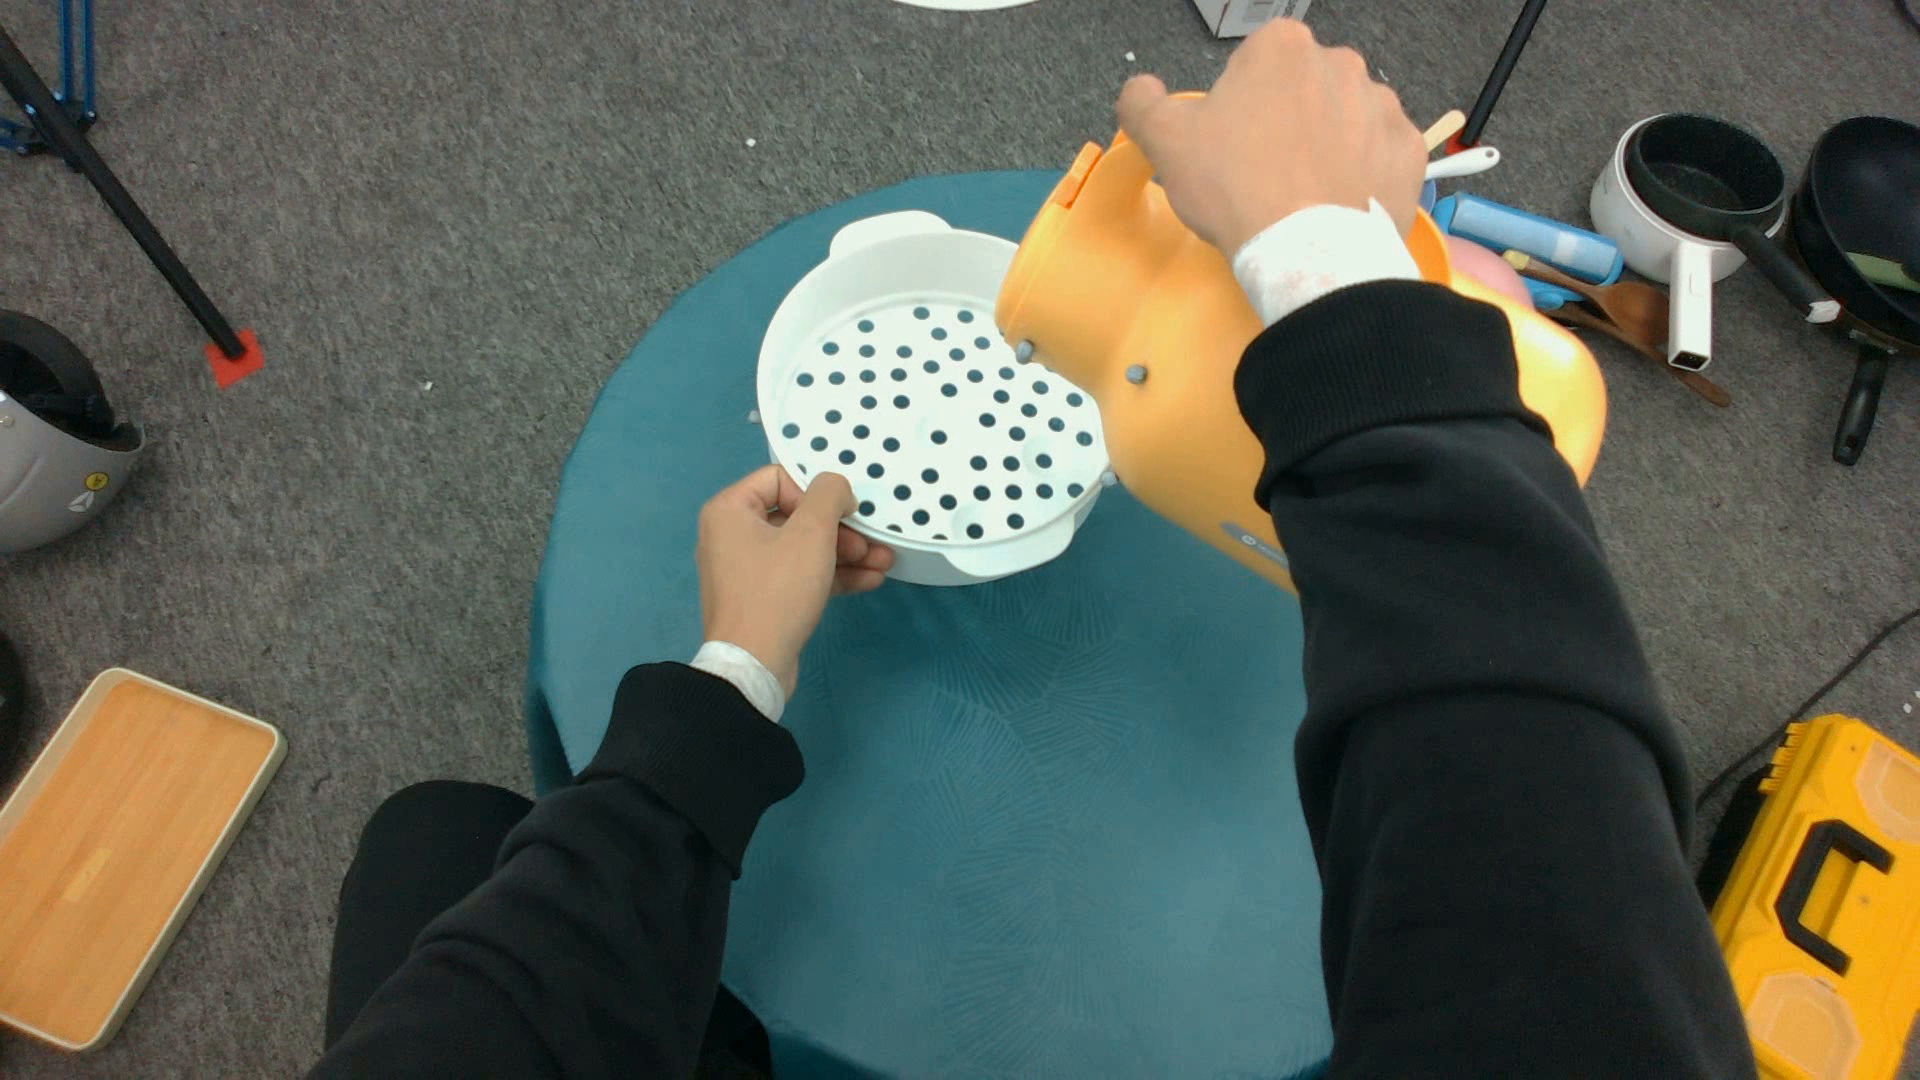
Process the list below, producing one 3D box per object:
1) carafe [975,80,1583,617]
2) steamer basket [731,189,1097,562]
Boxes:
[{"bbox_3d":[0.138,-0.092,0.616,0.260,0.201,0.164,28,66,3],"label":"carafe"},{"bbox_3d":[-0.023,-0.085,0.759,0.202,0.069,0.231,-16,67,-15],"label":"steamer basket"}]
